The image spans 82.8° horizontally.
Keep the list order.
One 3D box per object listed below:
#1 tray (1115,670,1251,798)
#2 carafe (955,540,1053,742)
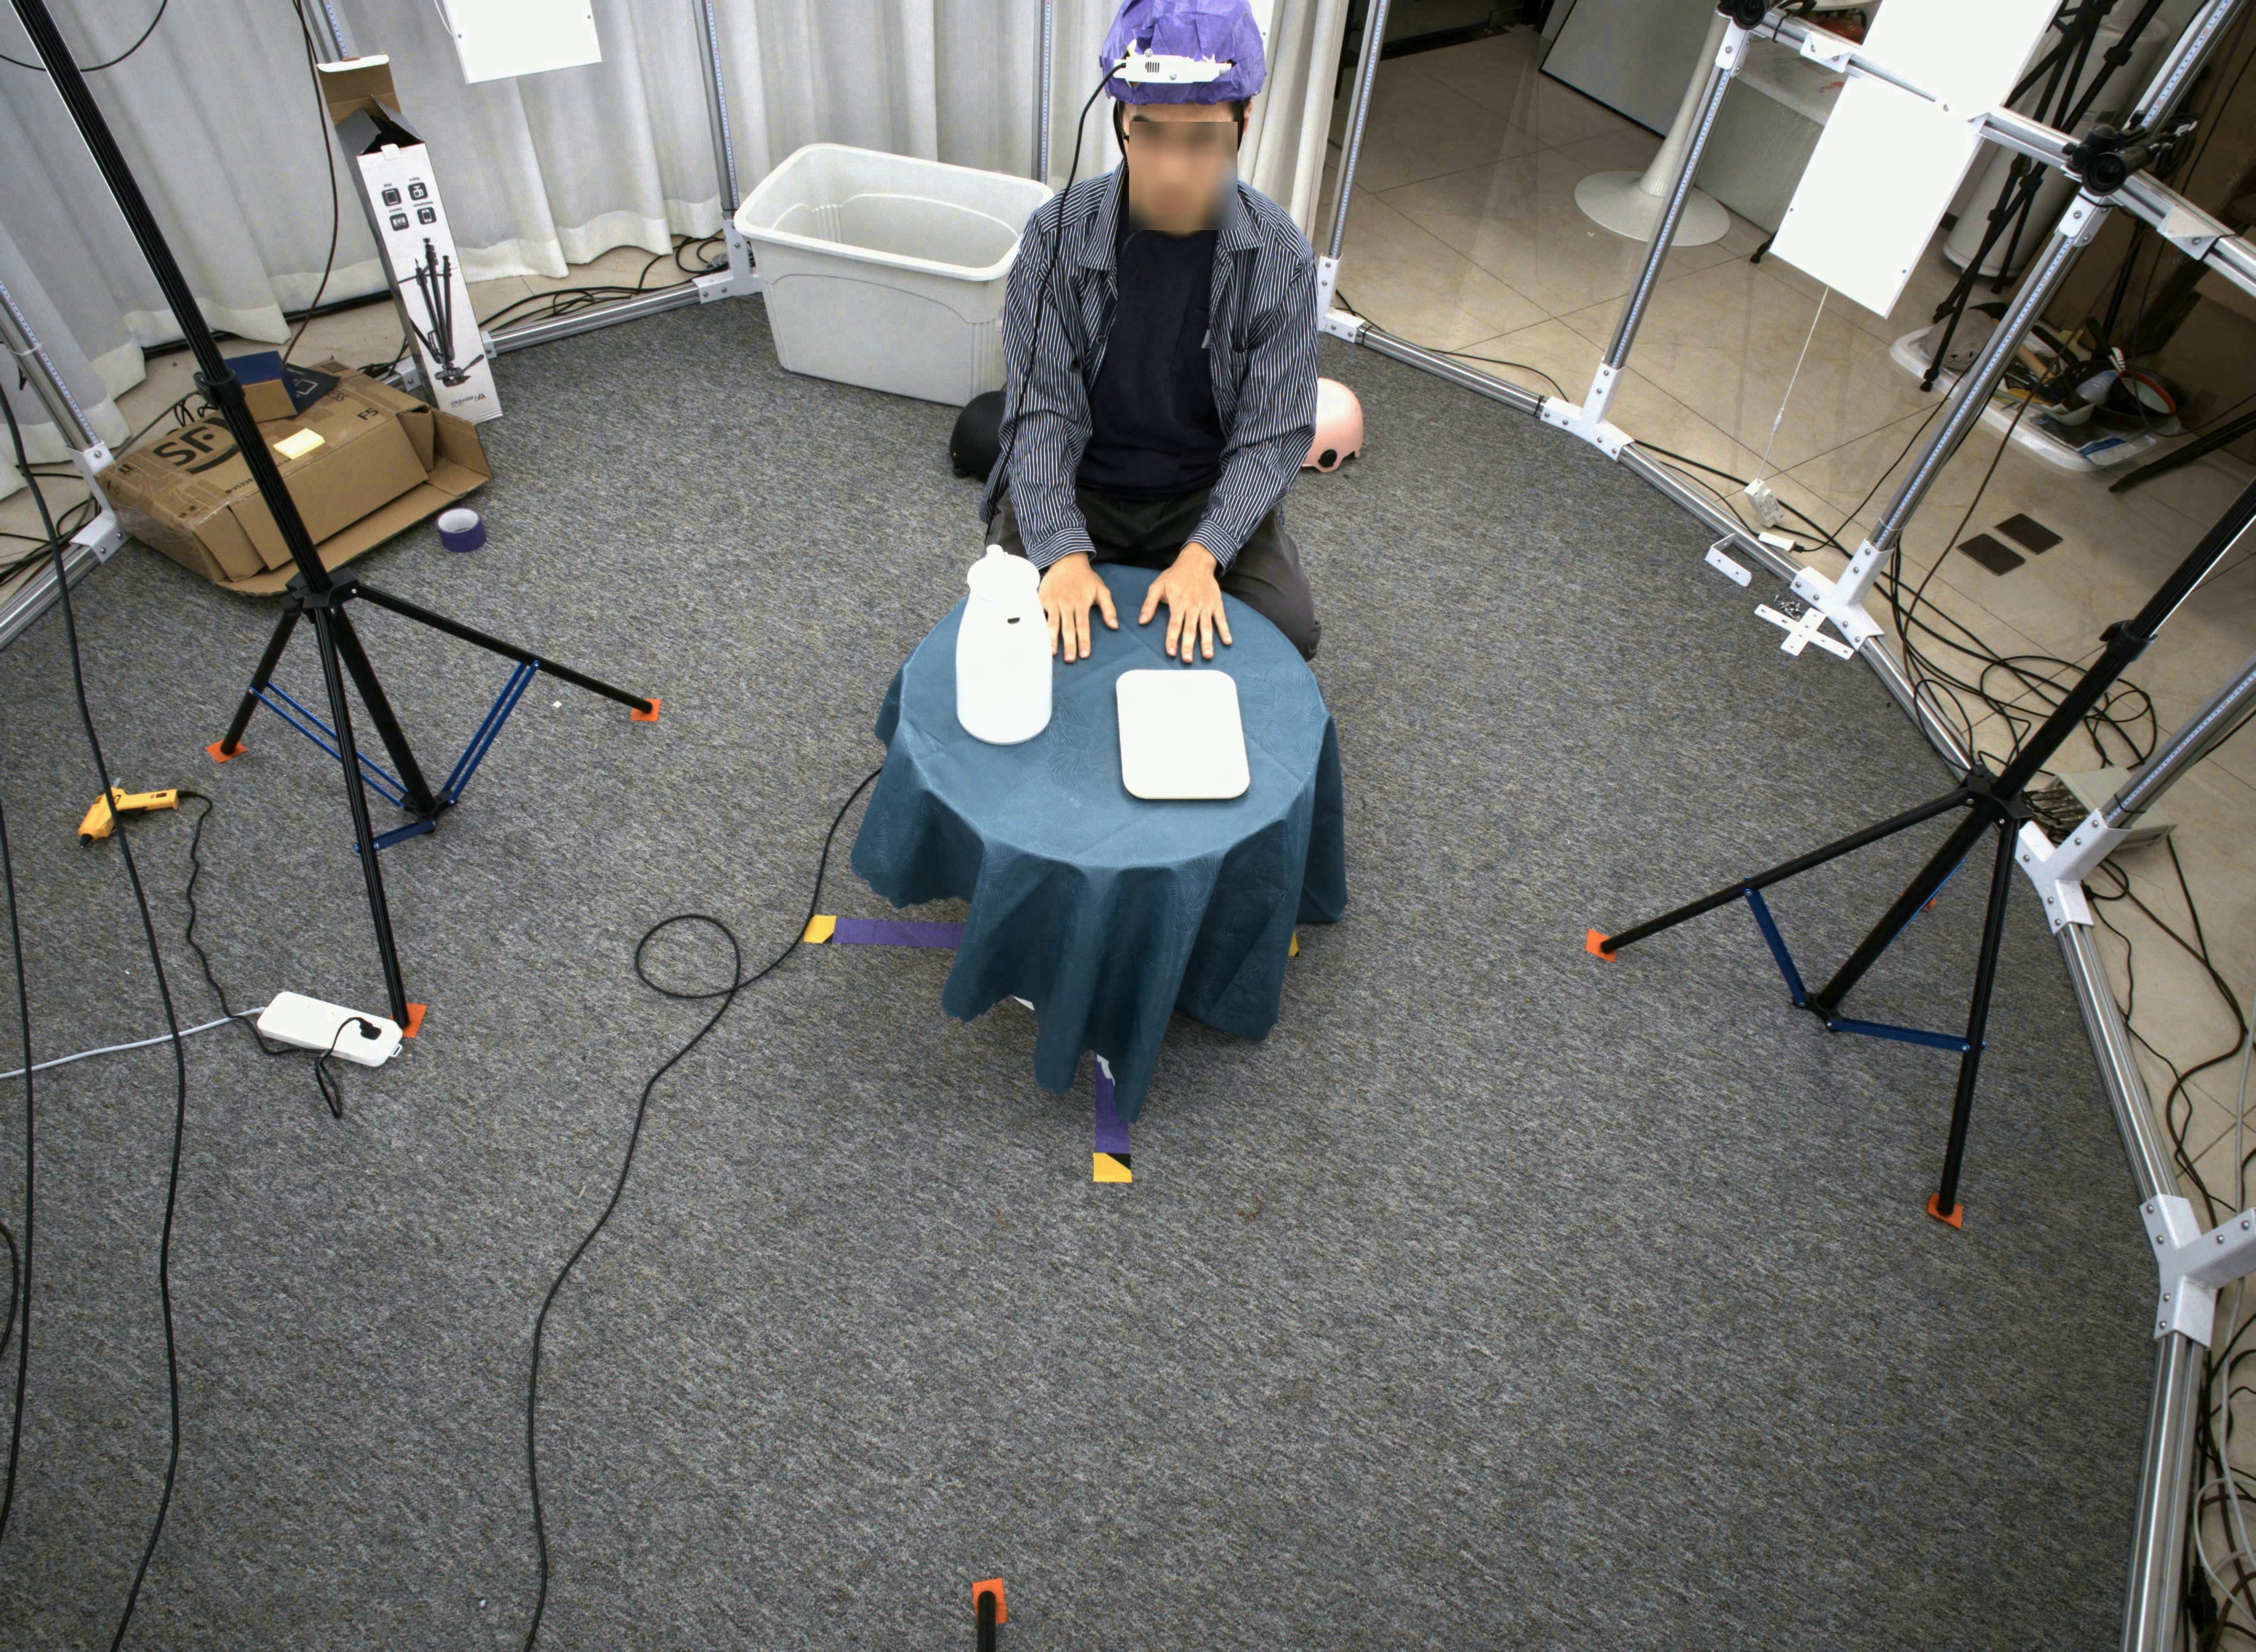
[{"bbox_3d":[0.072,-0.127,1.764,0.171,0.017,0.246,0,48,-6],"label":"tray"},{"bbox_3d":[-0.170,-0.256,1.704,0.132,0.242,0.172,-14,50,-16],"label":"carafe"}]
